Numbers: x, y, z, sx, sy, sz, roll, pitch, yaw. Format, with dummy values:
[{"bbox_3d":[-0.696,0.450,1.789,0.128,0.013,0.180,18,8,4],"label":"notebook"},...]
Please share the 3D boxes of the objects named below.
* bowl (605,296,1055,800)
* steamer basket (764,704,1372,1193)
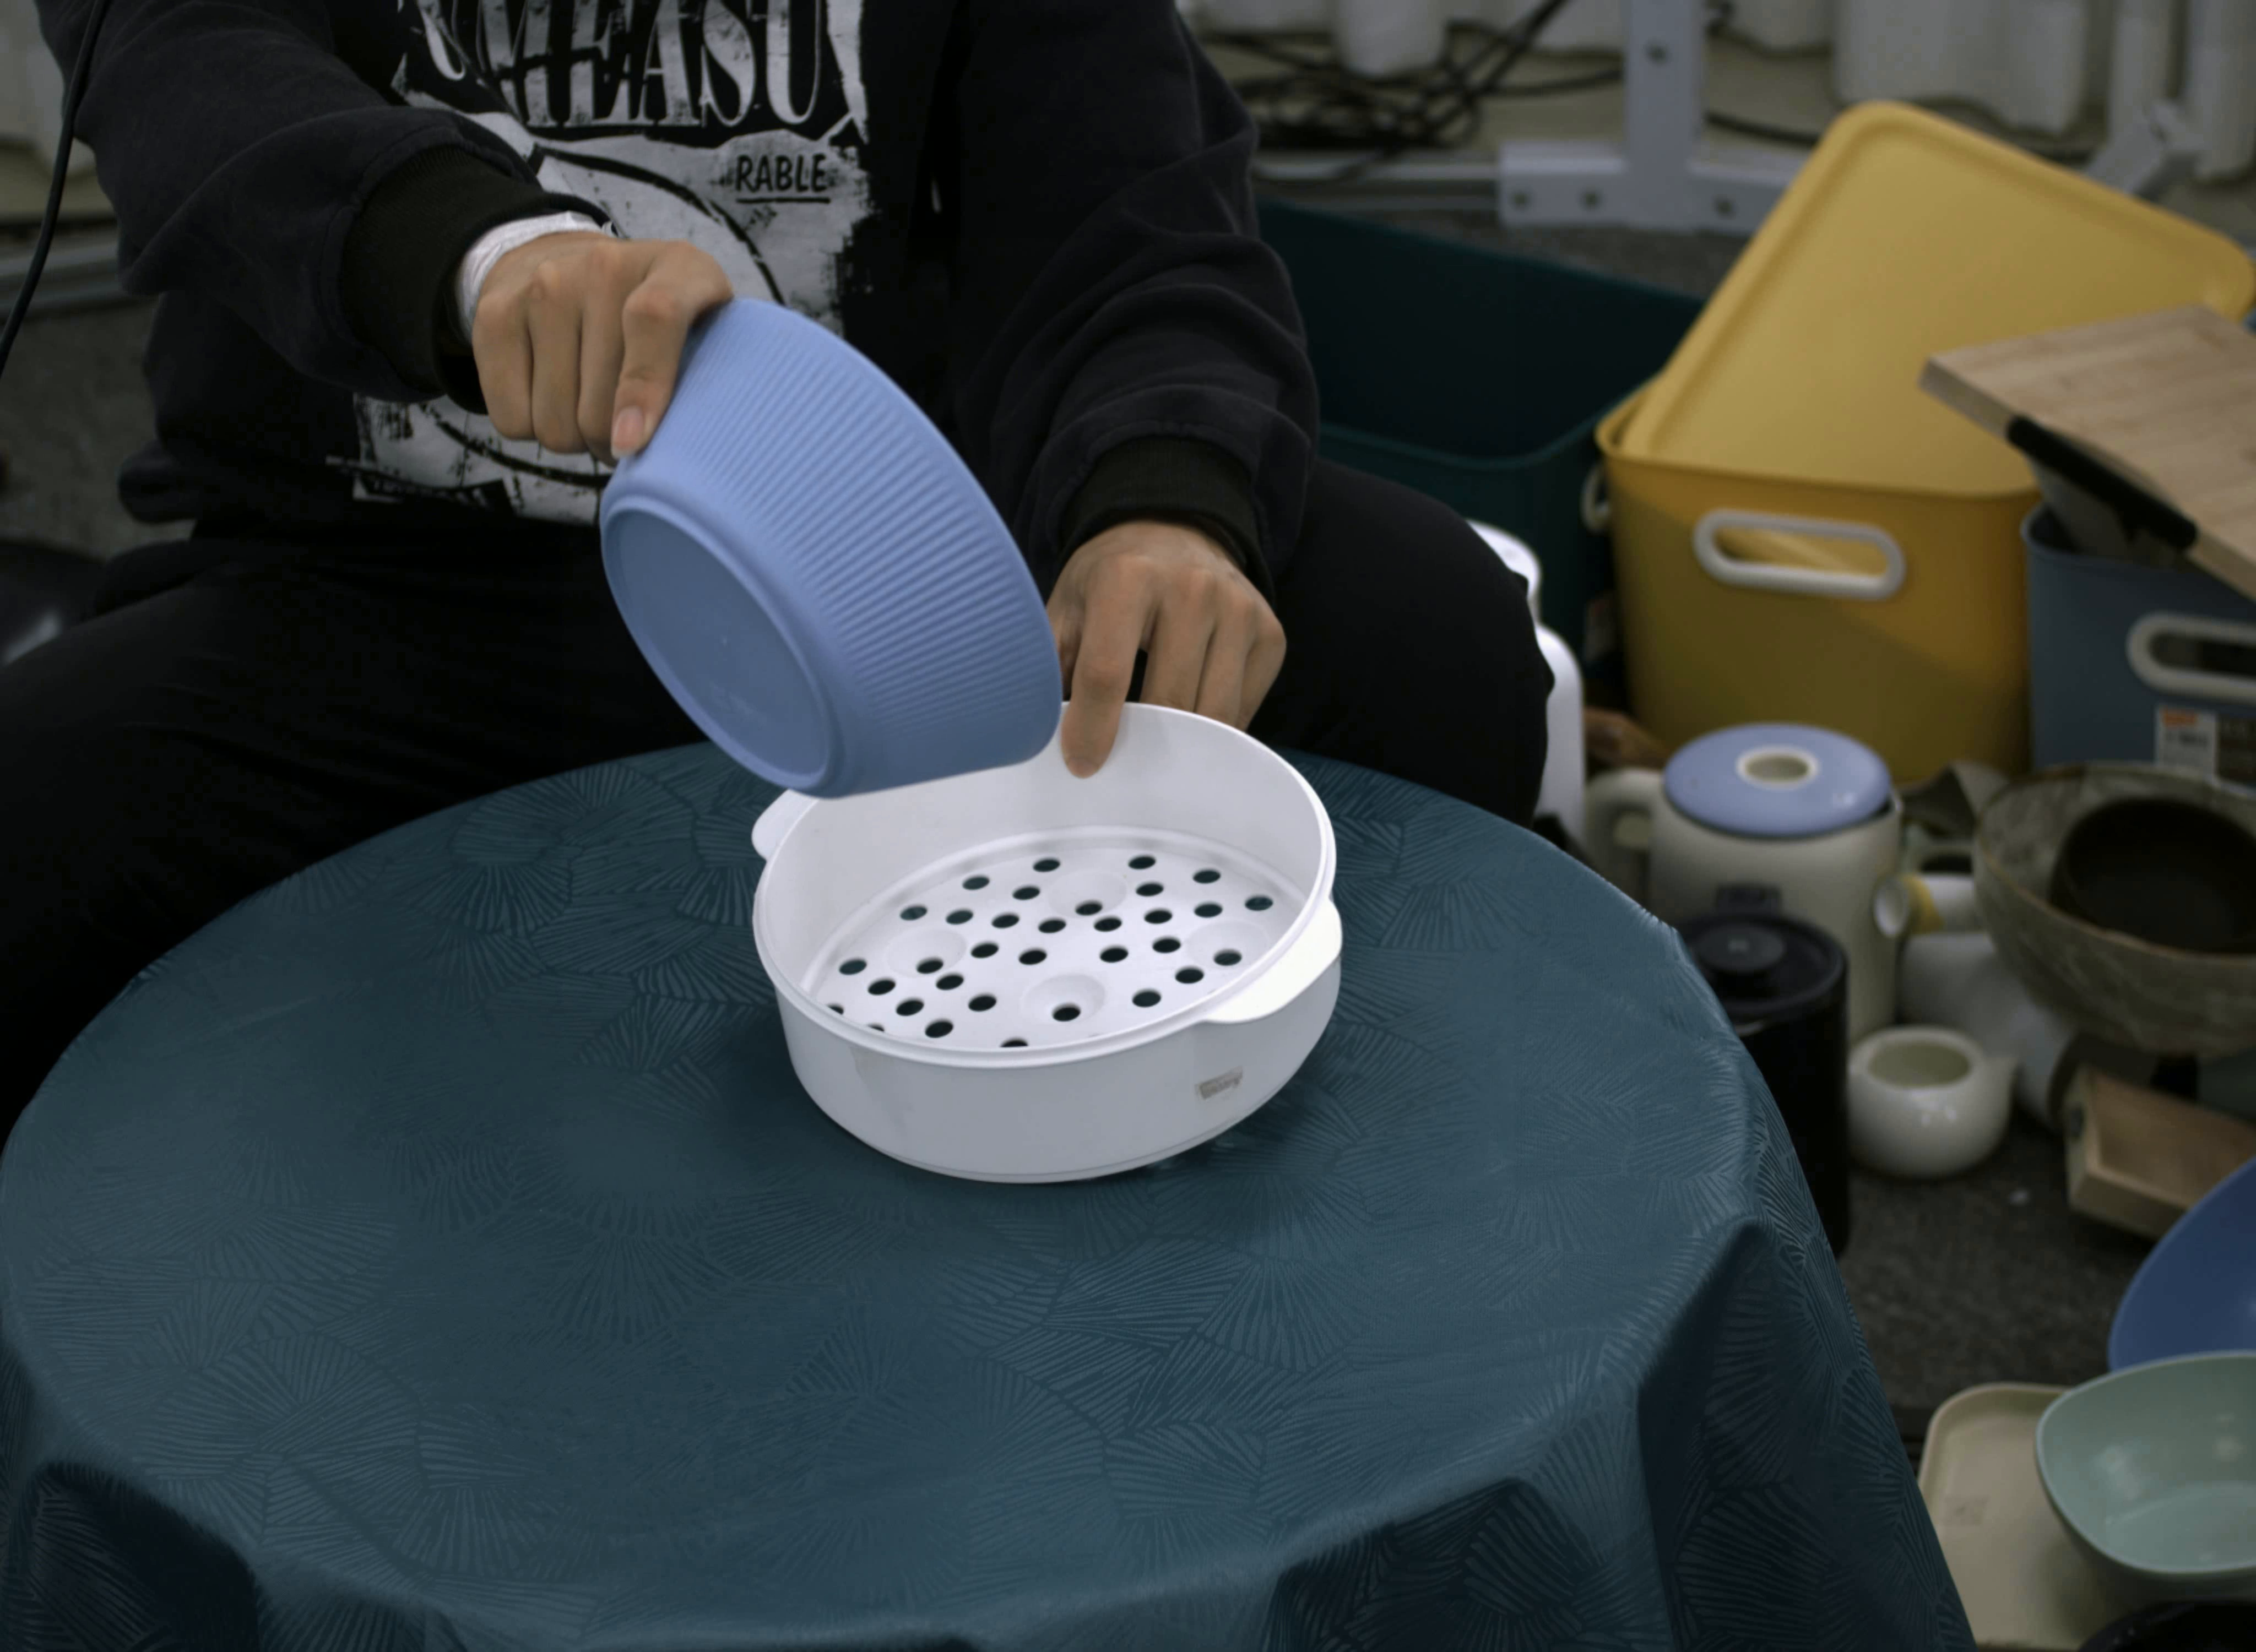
[{"bbox_3d":[-0.104,-0.074,1.771,0.071,0.174,0.176,-36,39,-23],"label":"bowl"},{"bbox_3d":[-0.020,0.042,1.922,0.230,0.068,0.205,20,44,31],"label":"steamer basket"}]
